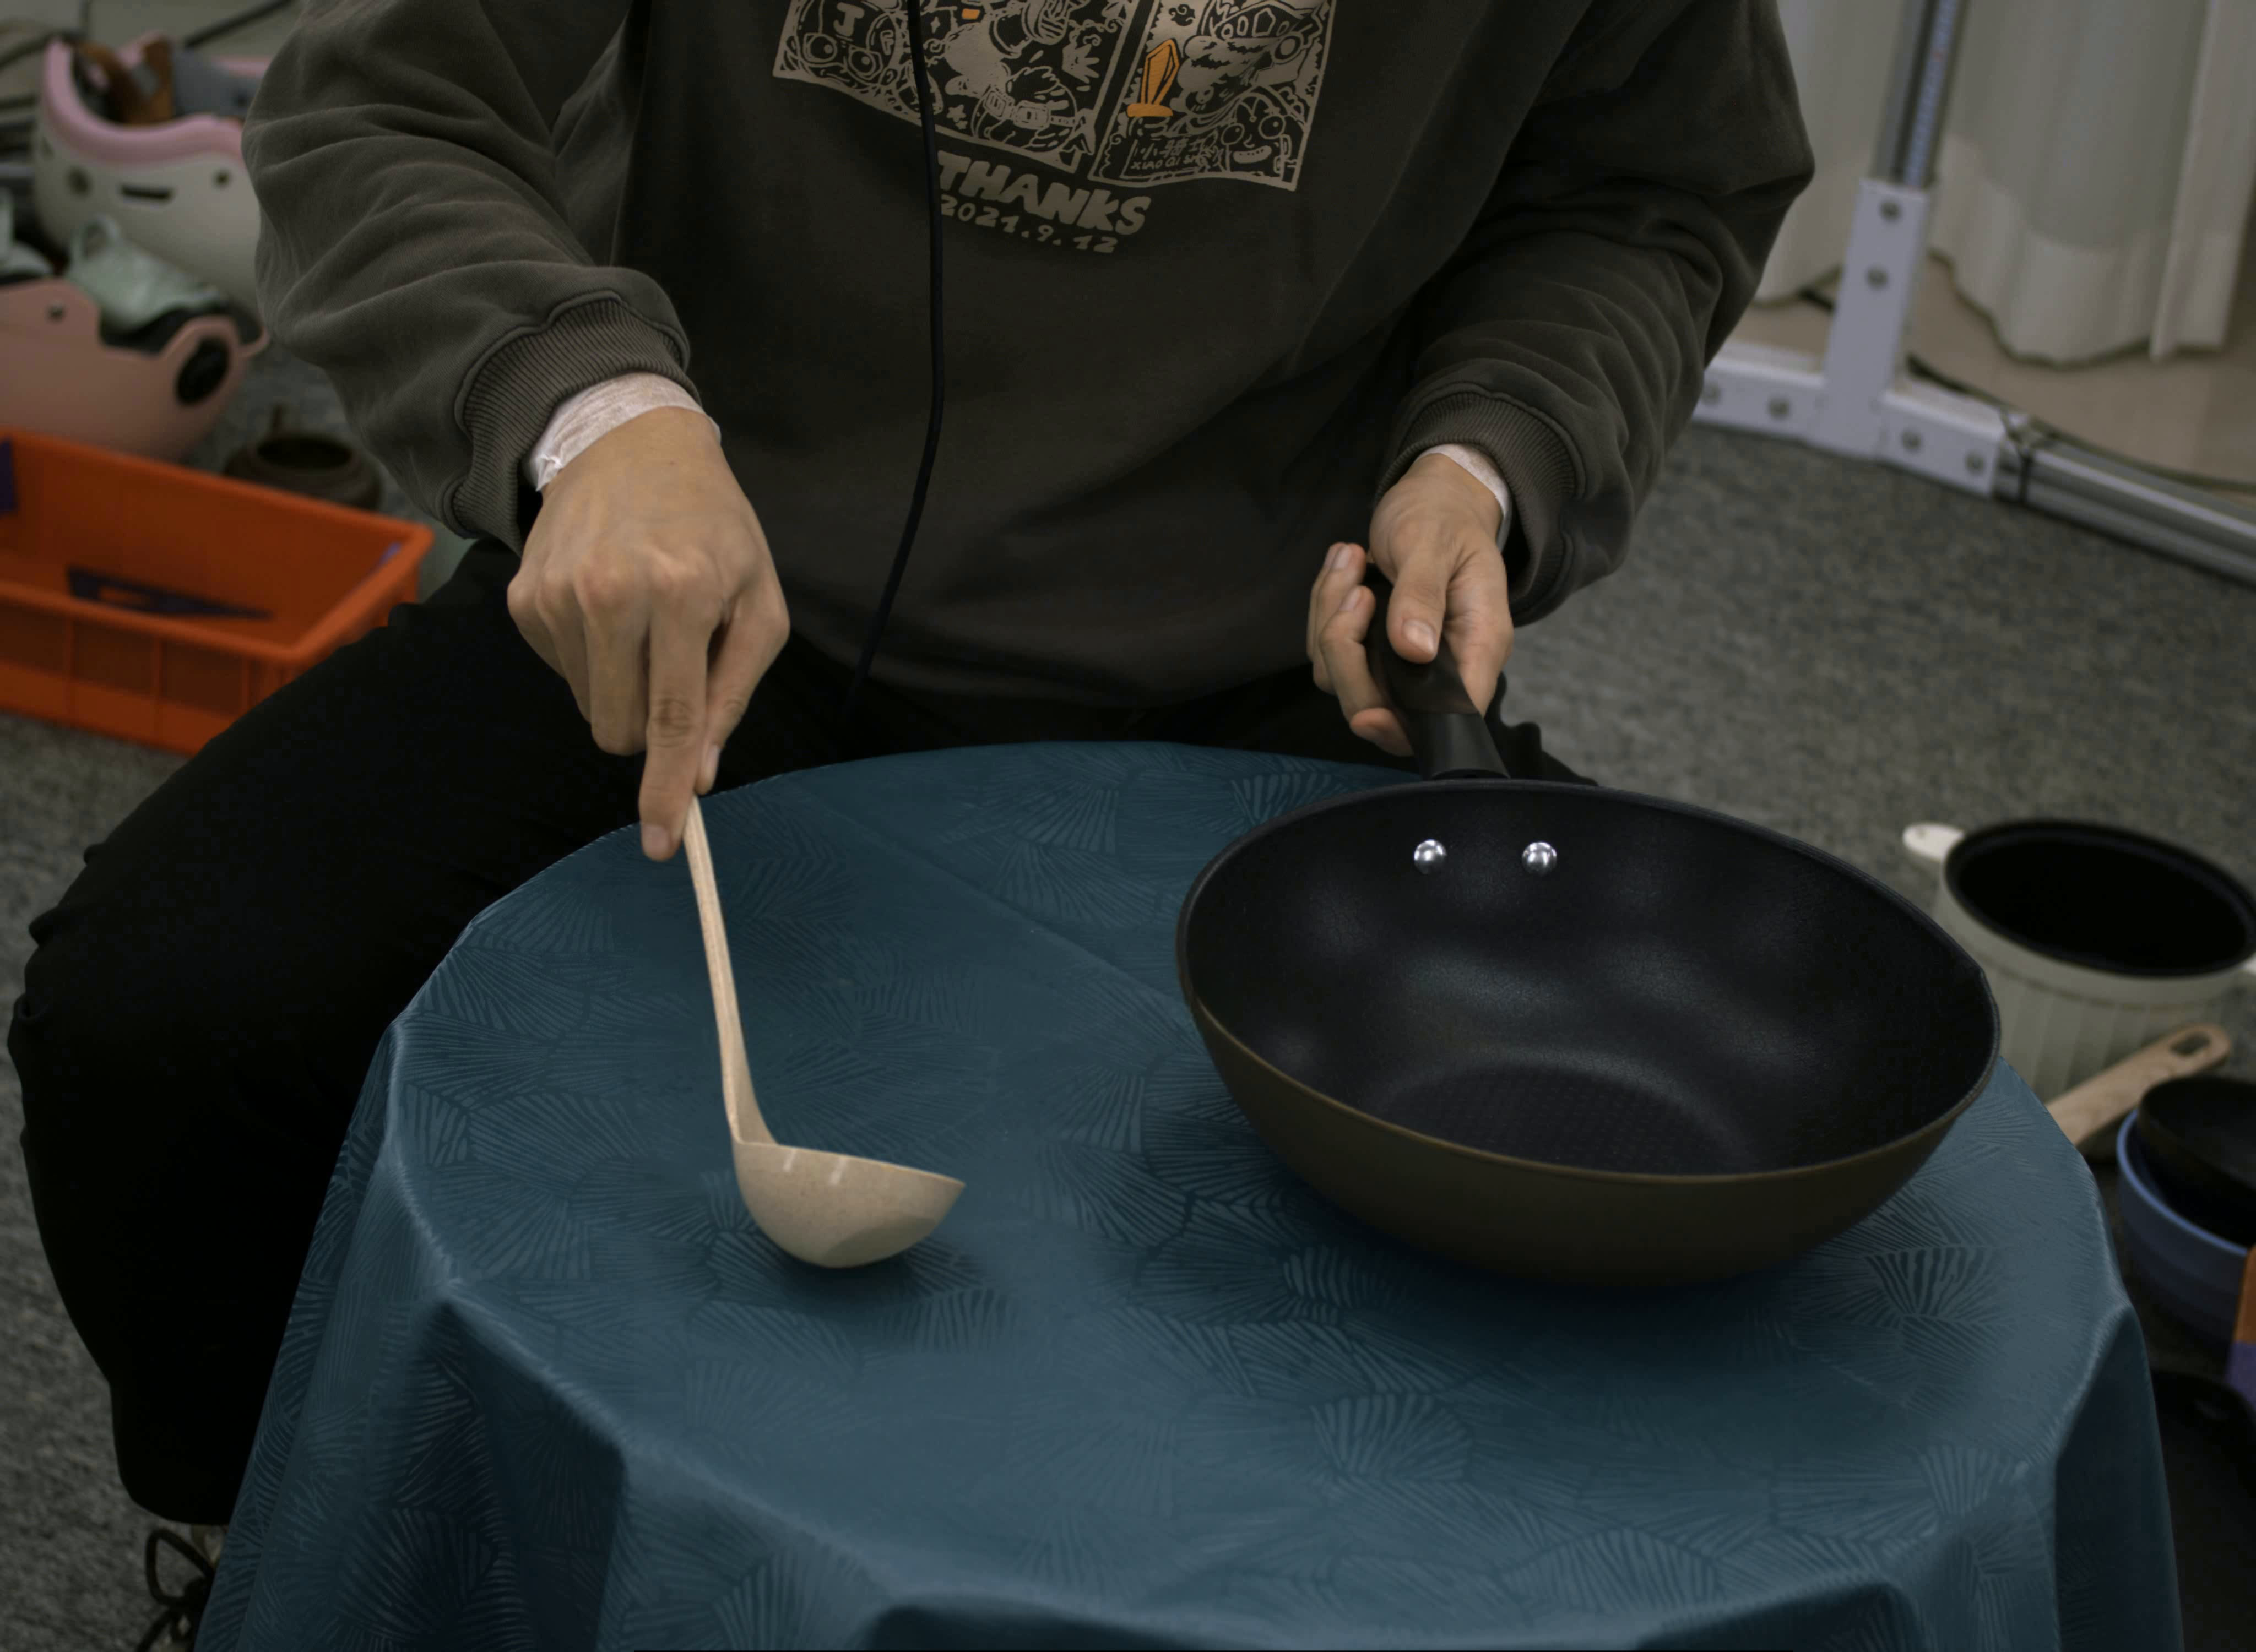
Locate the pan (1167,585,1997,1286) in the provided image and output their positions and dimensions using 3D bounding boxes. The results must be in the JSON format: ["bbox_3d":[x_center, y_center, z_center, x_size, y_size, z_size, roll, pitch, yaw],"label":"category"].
[{"bbox_3d":[0.133,0.041,1.905,0.286,0.086,0.467,0,26,-12],"label":"pan"}]

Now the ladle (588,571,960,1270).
[{"bbox_3d":[-0.117,0.020,1.757,0.073,0.256,0.071,-21,-17,21],"label":"ladle"}]
